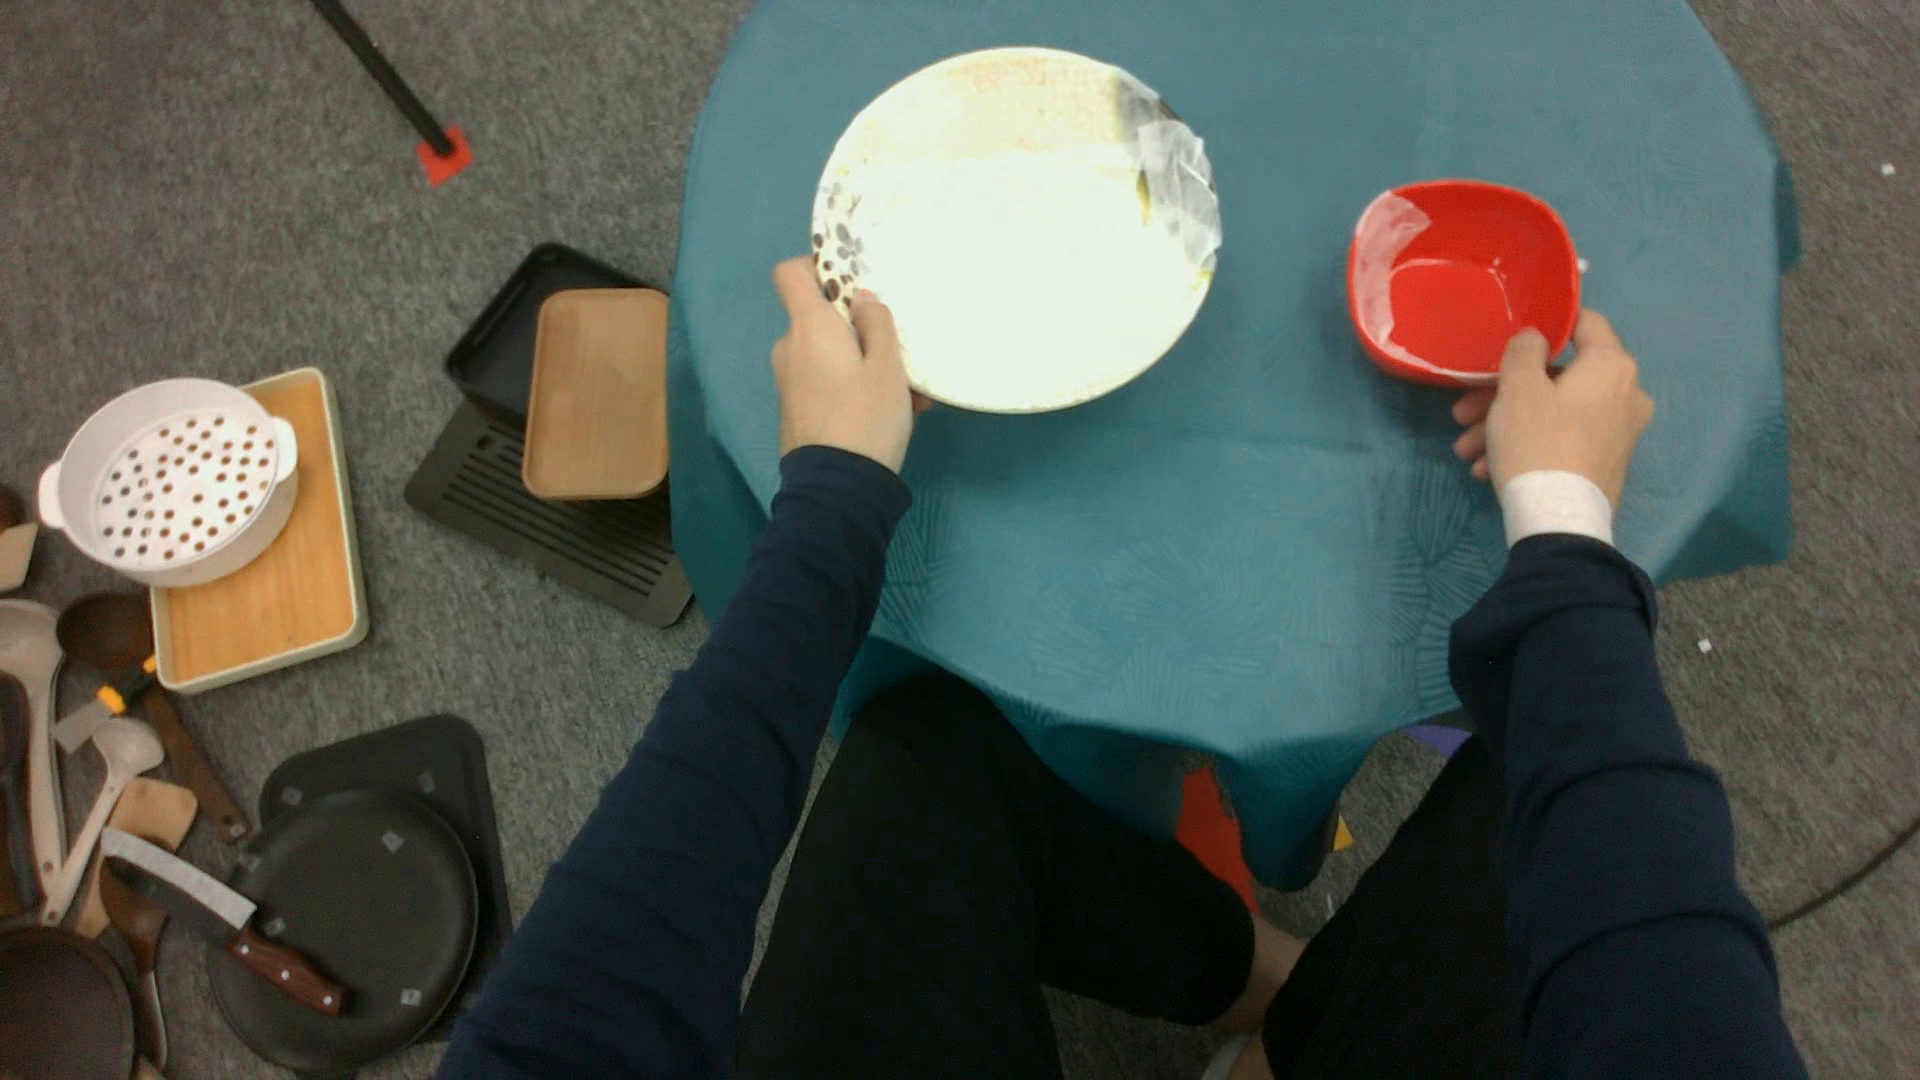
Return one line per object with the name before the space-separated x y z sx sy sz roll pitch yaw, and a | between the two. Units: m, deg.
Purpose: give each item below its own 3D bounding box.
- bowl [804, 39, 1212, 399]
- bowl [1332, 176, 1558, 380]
bowl | 0.025 -0.154 0.720 0.204 0.078 0.204 -1 72 4
bowl | 0.243 -0.126 0.710 0.119 0.051 0.119 -1 71 2
